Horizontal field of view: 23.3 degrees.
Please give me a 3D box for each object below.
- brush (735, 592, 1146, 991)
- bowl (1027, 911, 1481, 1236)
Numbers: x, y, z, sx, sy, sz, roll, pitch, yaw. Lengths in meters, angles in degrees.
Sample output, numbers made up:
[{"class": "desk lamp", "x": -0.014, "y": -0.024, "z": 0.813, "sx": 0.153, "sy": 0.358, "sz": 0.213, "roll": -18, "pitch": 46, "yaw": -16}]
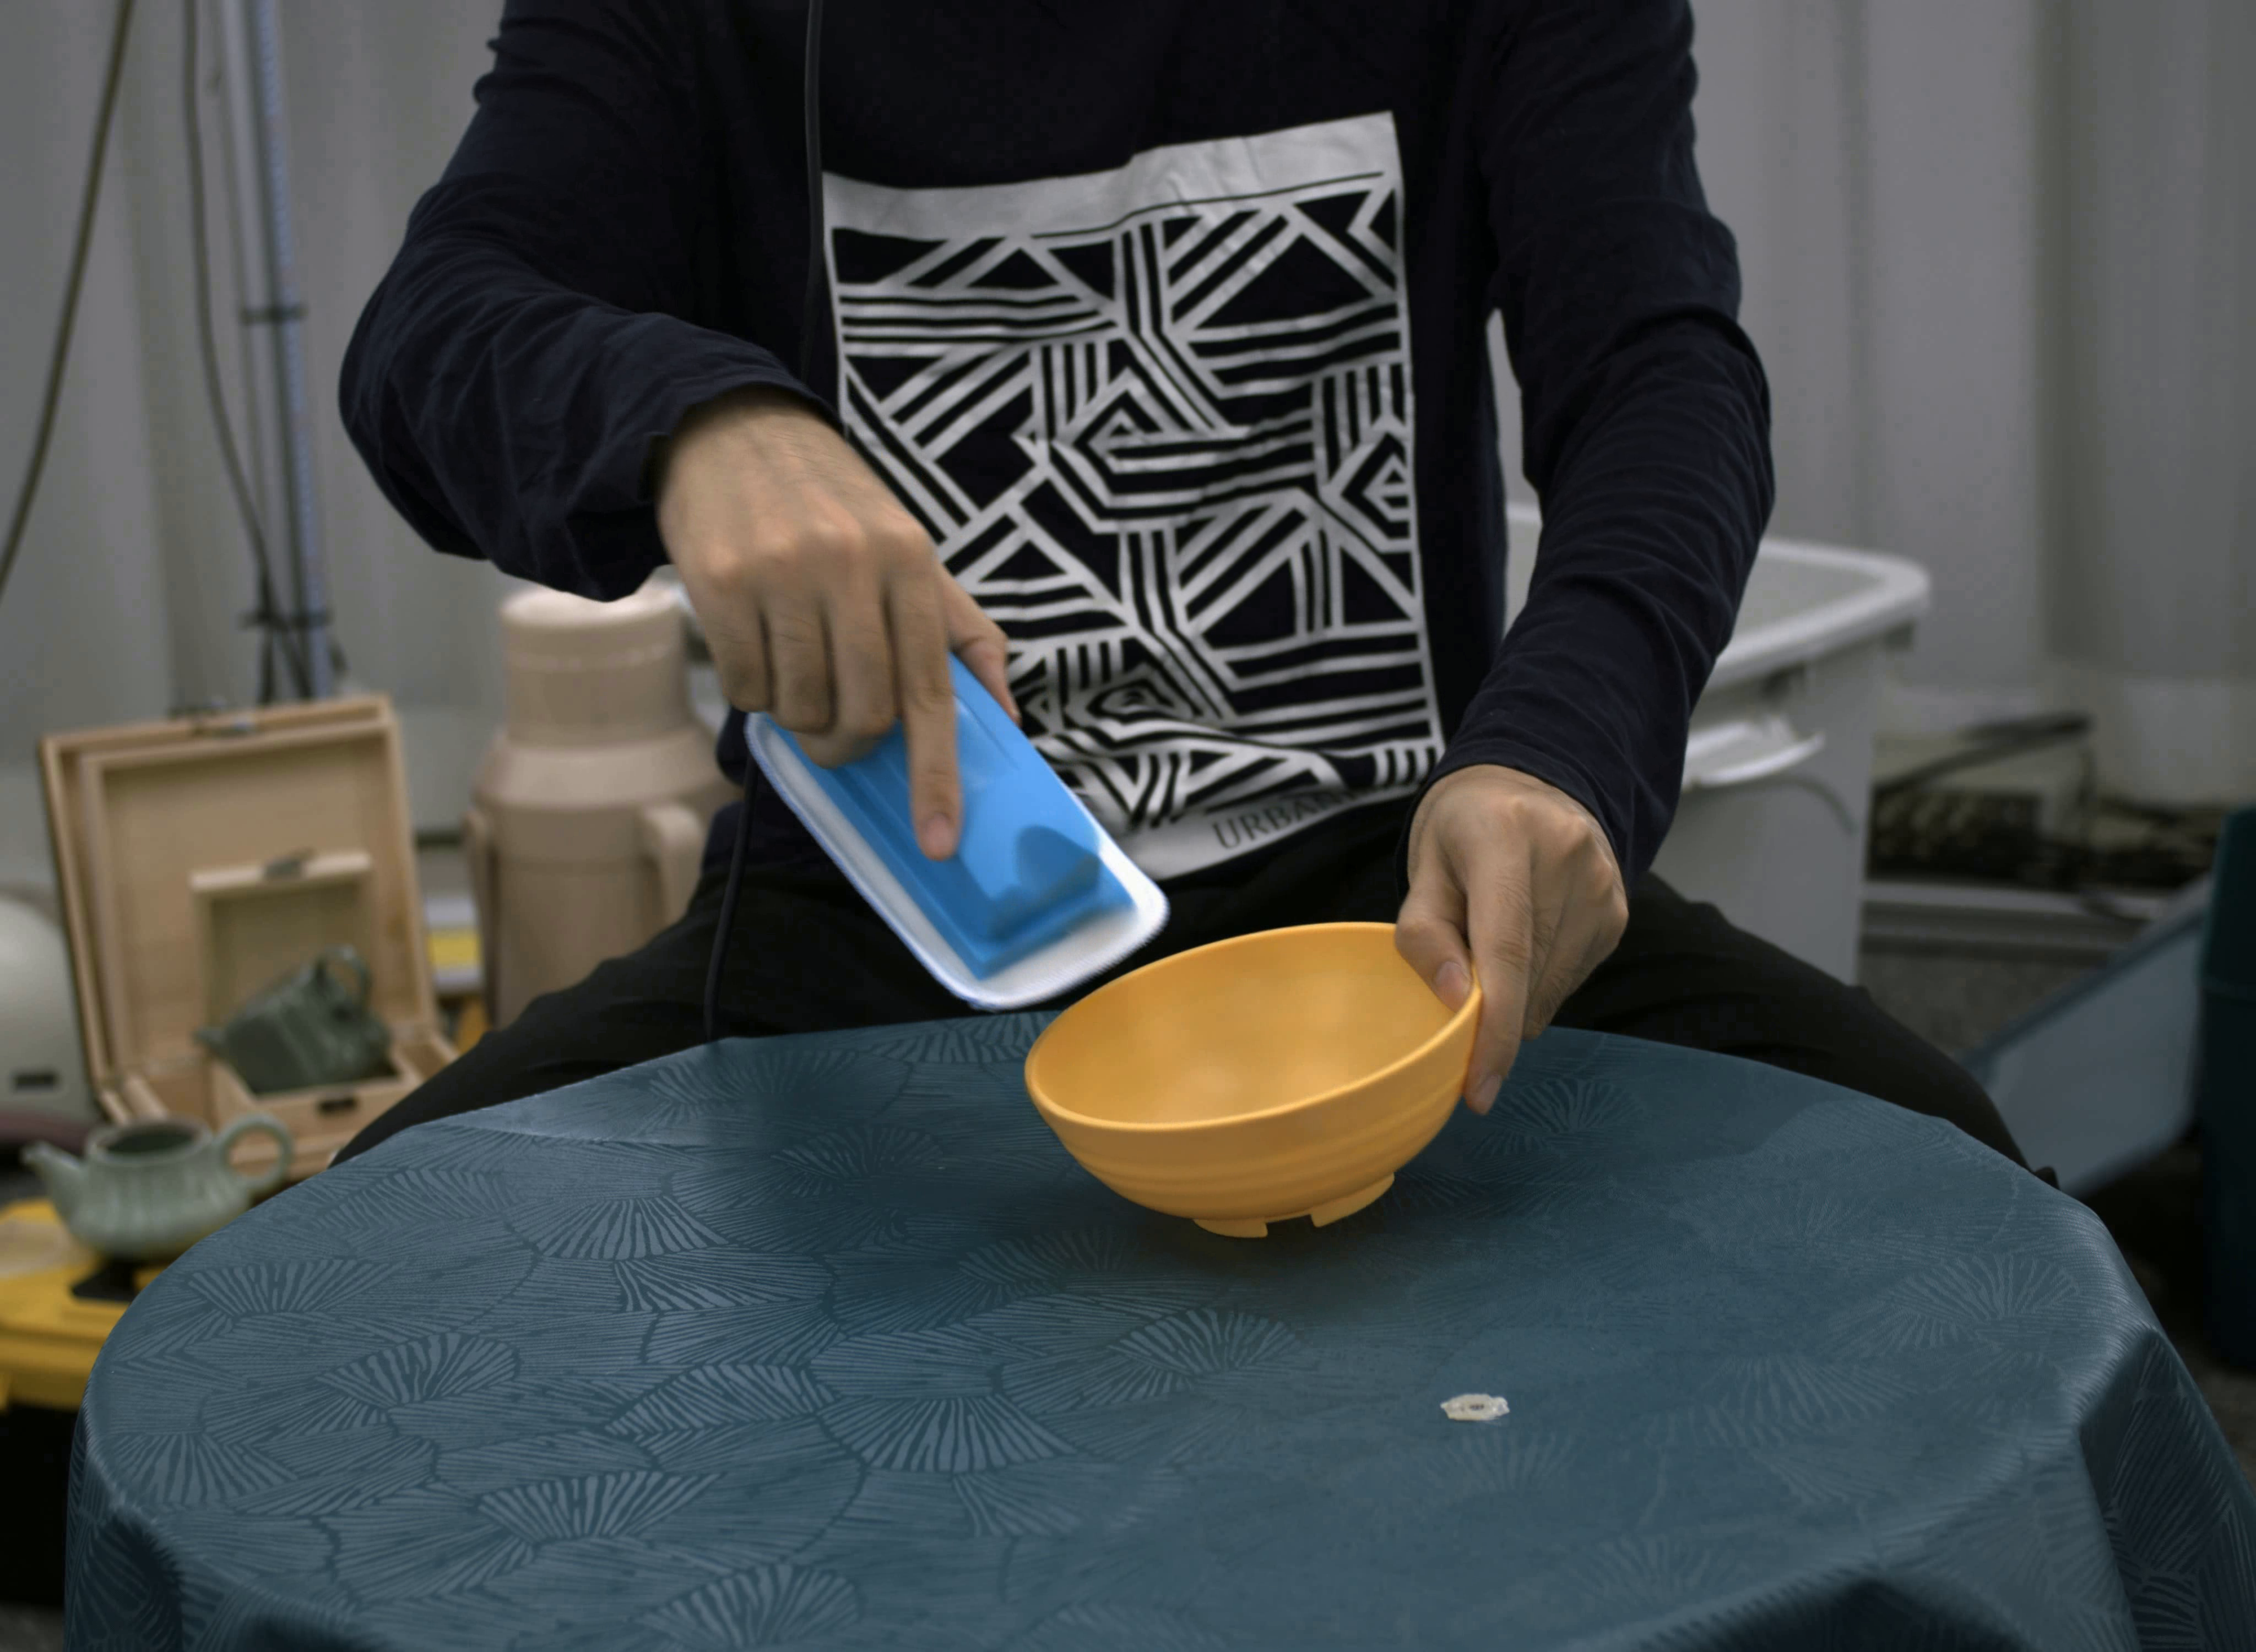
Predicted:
[{"class": "brush", "x": -0.055, "y": -0.019, "z": 1.701, "sx": 0.084, "sy": 0.055, "sz": 0.145, "roll": -22, "pitch": 61, "yaw": -28}, {"class": "bowl", "x": 0.044, "y": 0.085, "z": 1.683, "sx": 0.145, "sy": 0.059, "sz": 0.147, "roll": -13, "pitch": 22, "yaw": 5}]
